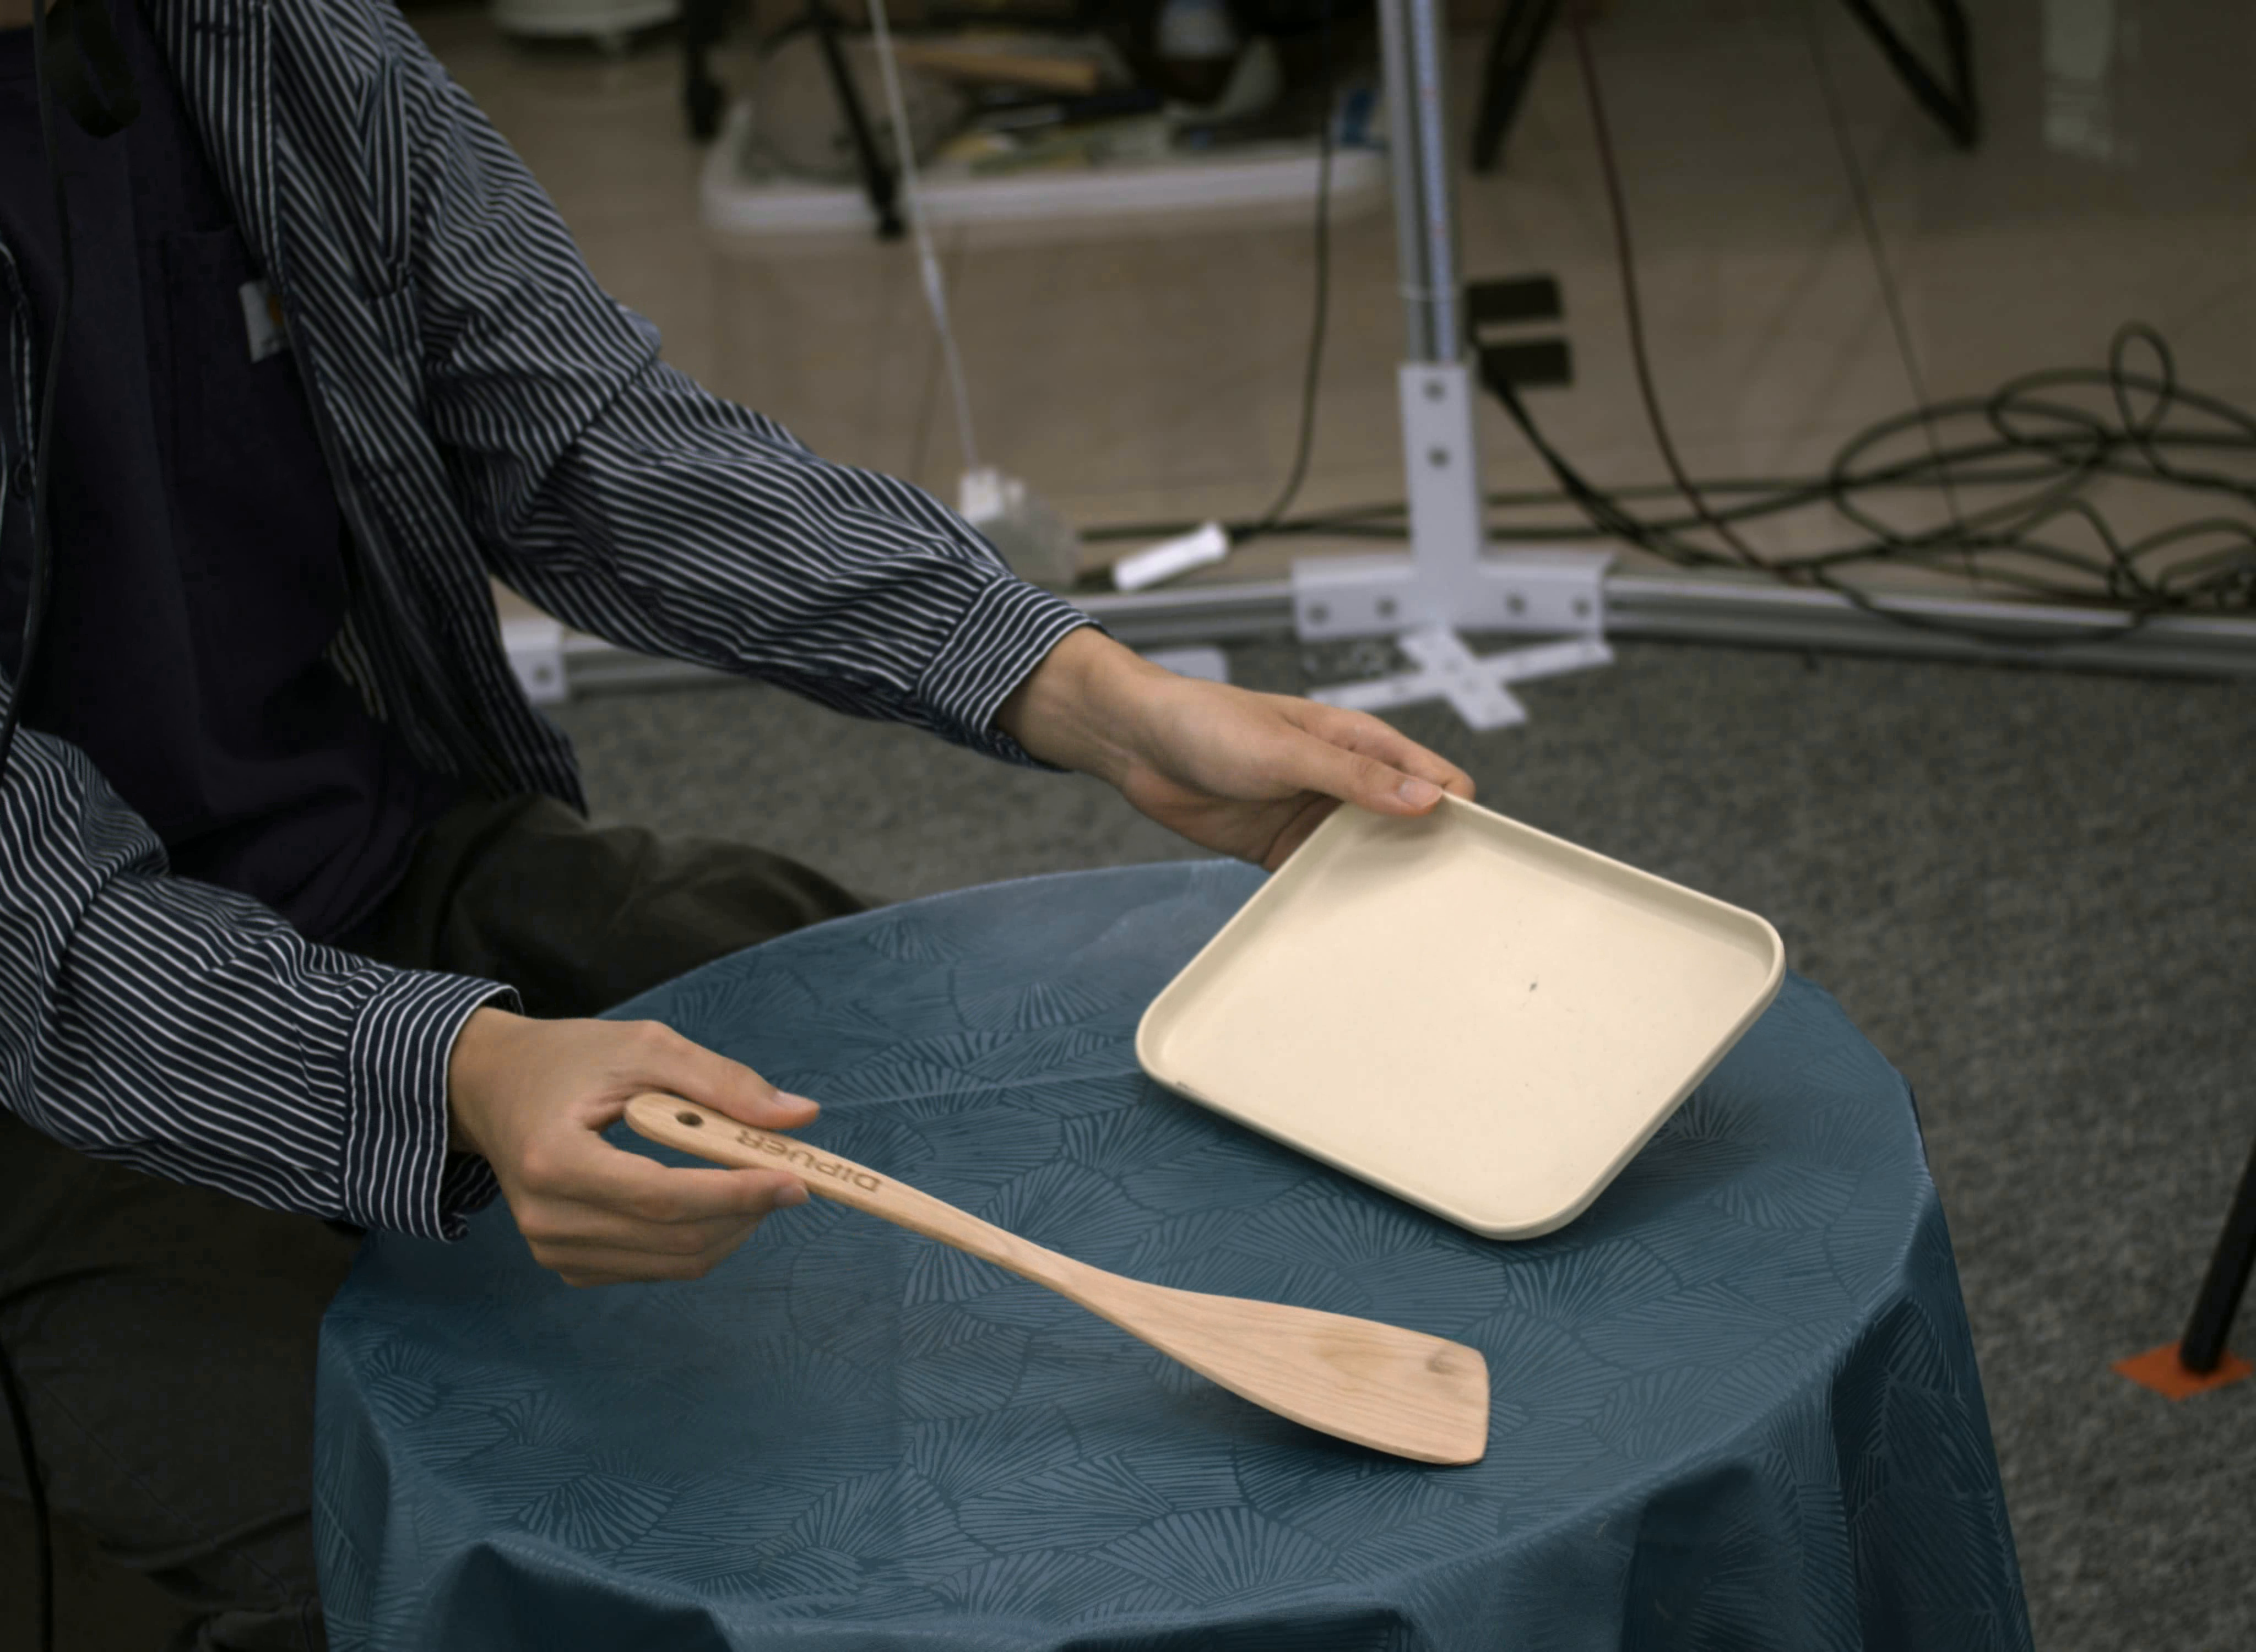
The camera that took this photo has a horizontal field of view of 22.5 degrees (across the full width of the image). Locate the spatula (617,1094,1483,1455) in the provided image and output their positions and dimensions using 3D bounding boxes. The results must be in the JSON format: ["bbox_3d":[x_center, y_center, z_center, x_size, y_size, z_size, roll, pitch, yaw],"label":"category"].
[{"bbox_3d":[-0.027,0.151,2.001,0.327,0.017,0.079,20,27,4],"label":"spatula"}]

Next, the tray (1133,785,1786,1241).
[{"bbox_3d":[0.126,0.071,2.173,0.237,0.018,0.170,23,62,44],"label":"tray"}]
